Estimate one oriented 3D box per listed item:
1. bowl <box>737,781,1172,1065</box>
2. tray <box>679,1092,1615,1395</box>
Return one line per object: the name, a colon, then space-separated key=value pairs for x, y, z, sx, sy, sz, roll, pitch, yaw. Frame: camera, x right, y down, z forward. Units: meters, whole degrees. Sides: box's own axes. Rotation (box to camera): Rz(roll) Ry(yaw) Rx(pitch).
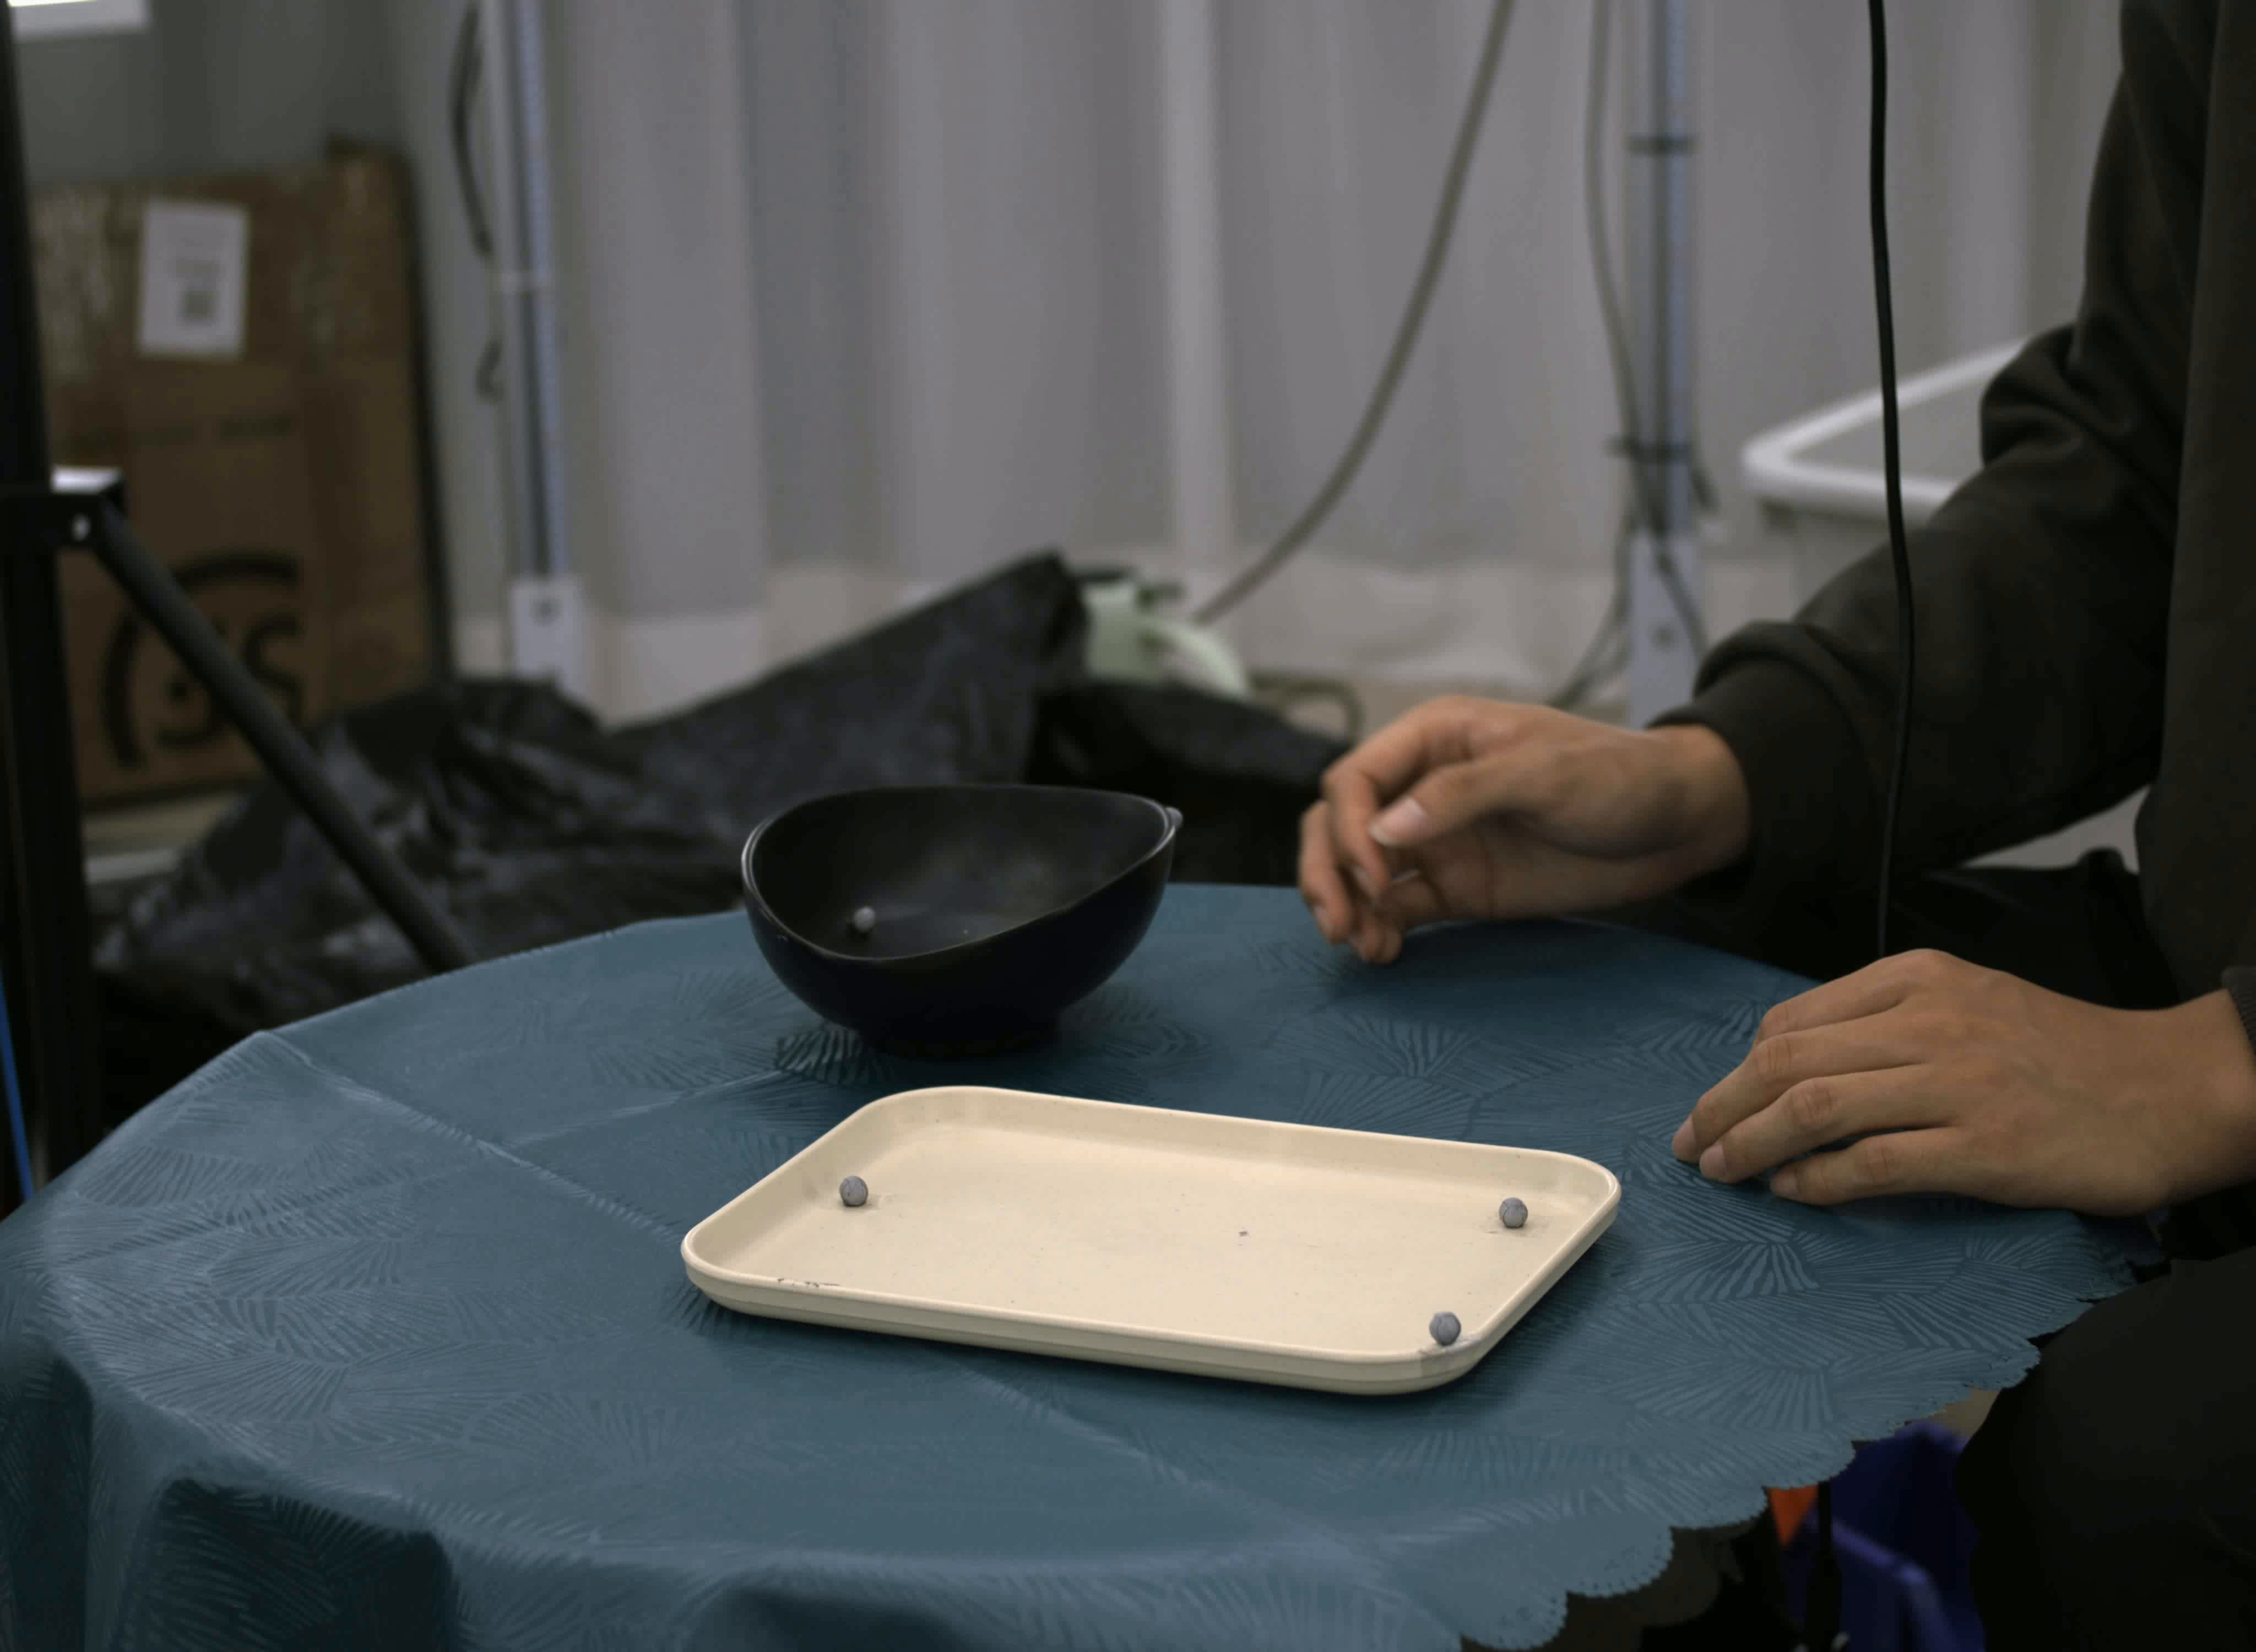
bowl: x=-0.054 y=0.035 z=1.712 sx=0.138 sy=0.066 sz=0.169 roll=1 pitch=18 yaw=17
tray: x=0.007 y=0.117 z=1.497 sx=0.243 sy=0.017 sz=0.169 roll=5 pitch=17 yaw=24
